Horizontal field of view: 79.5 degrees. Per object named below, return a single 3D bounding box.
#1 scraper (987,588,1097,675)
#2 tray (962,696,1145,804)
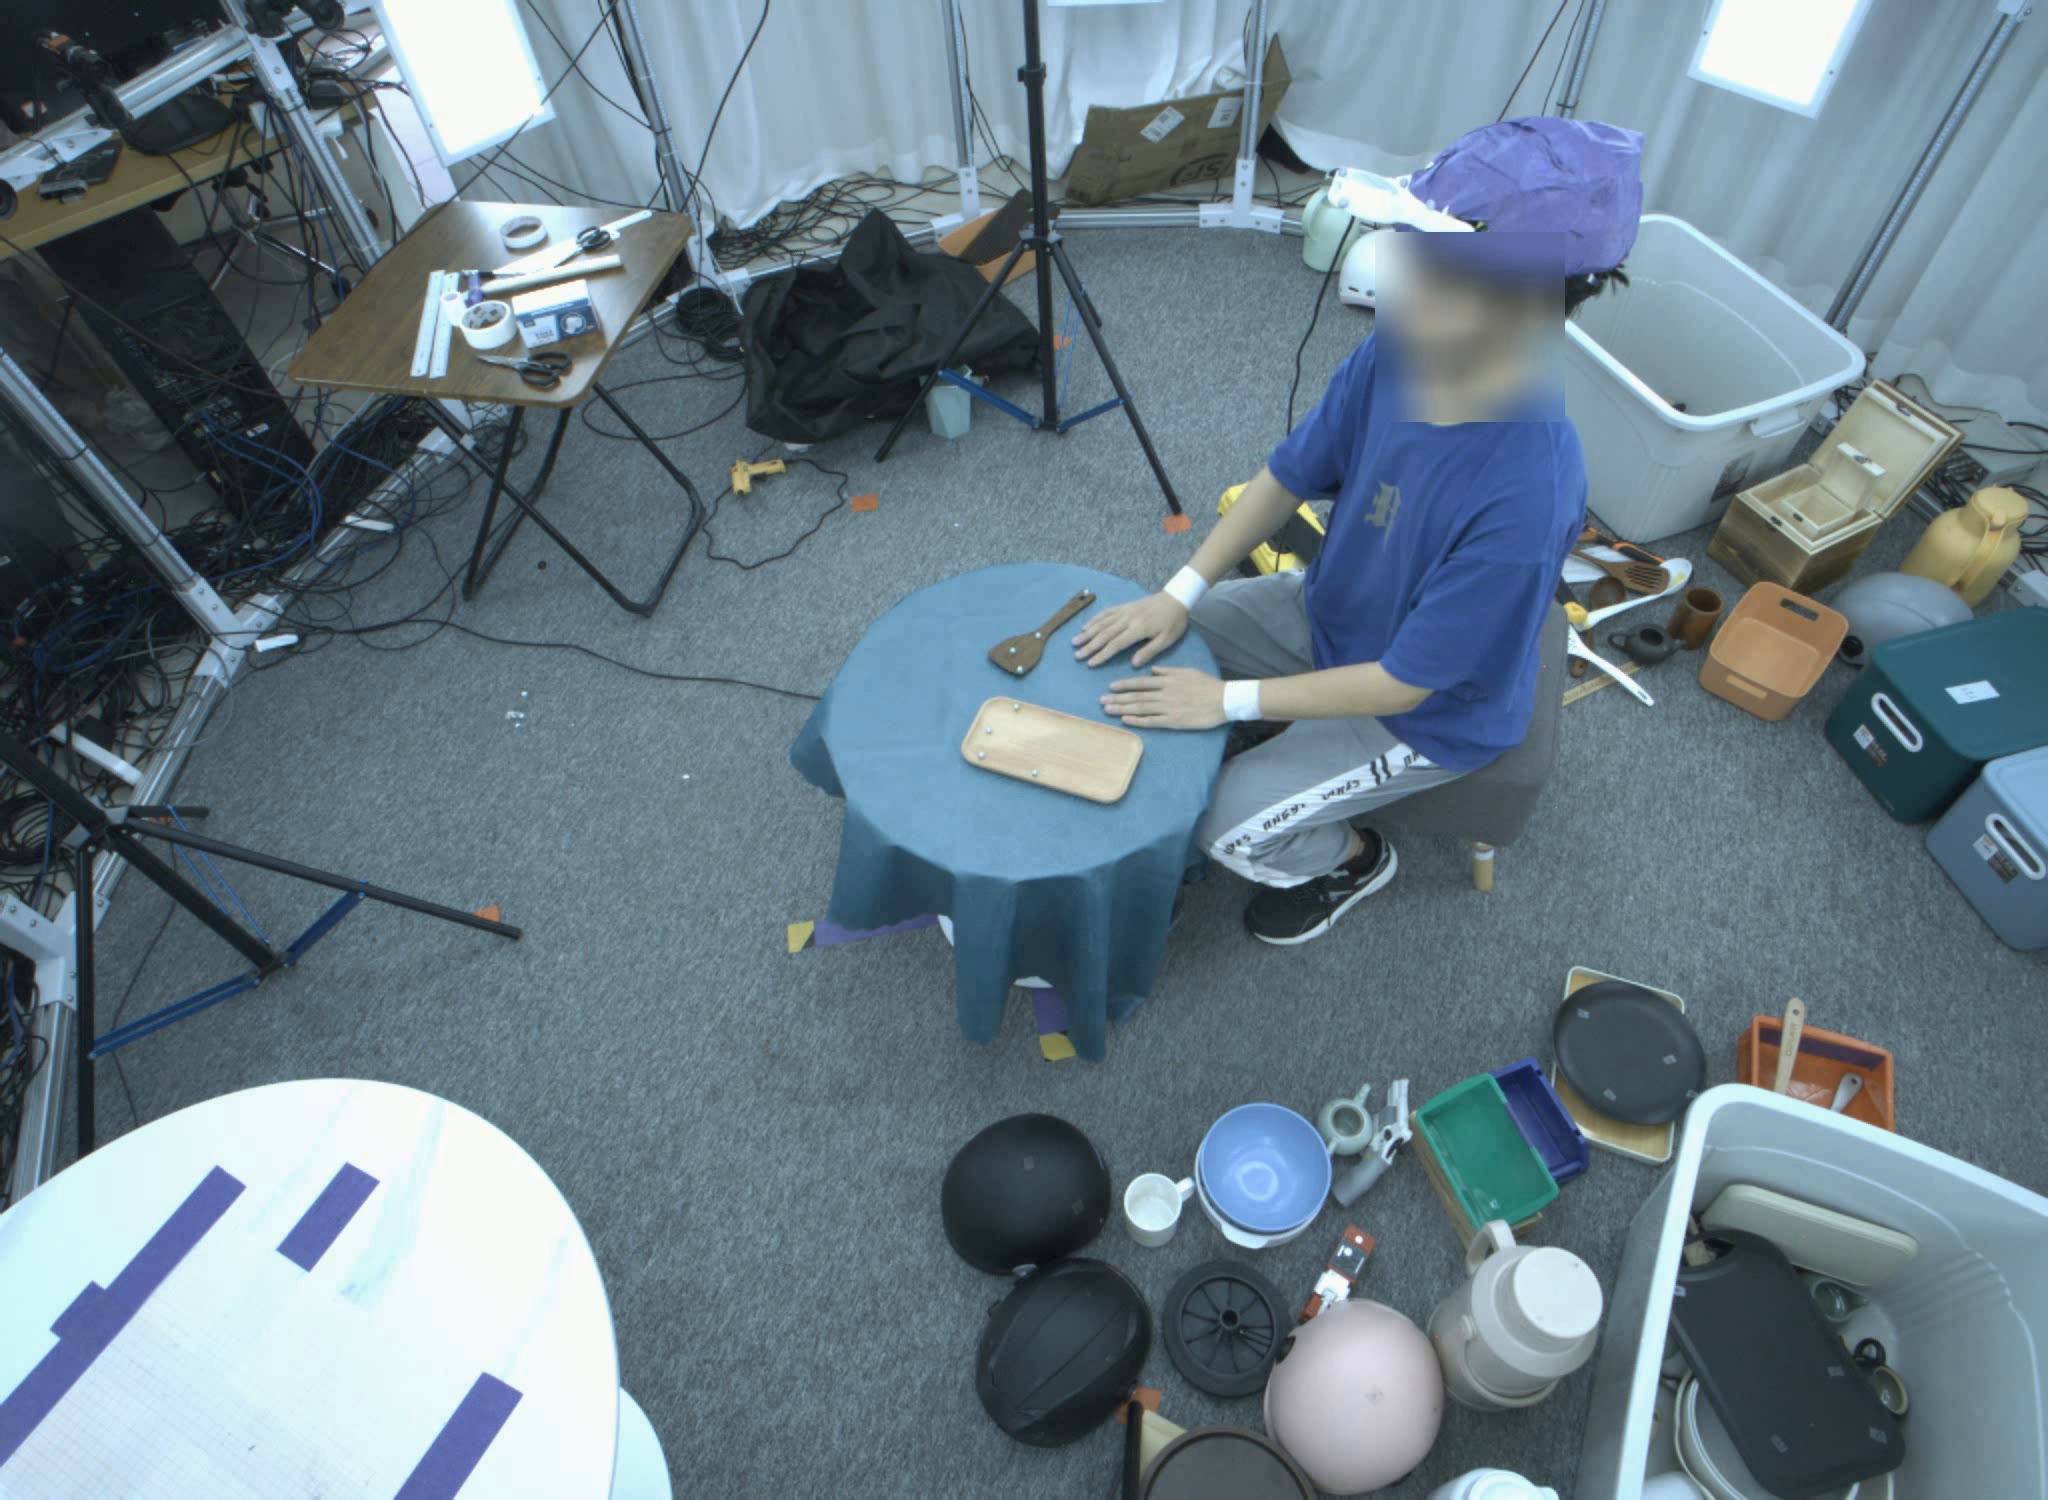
[{"bbox_3d":[0.036,-0.189,1.907,0.074,0.011,0.213,36,62,24],"label":"scraper"},{"bbox_3d":[0.042,-0.001,1.766,0.248,0.023,0.130,17,59,13],"label":"tray"}]
